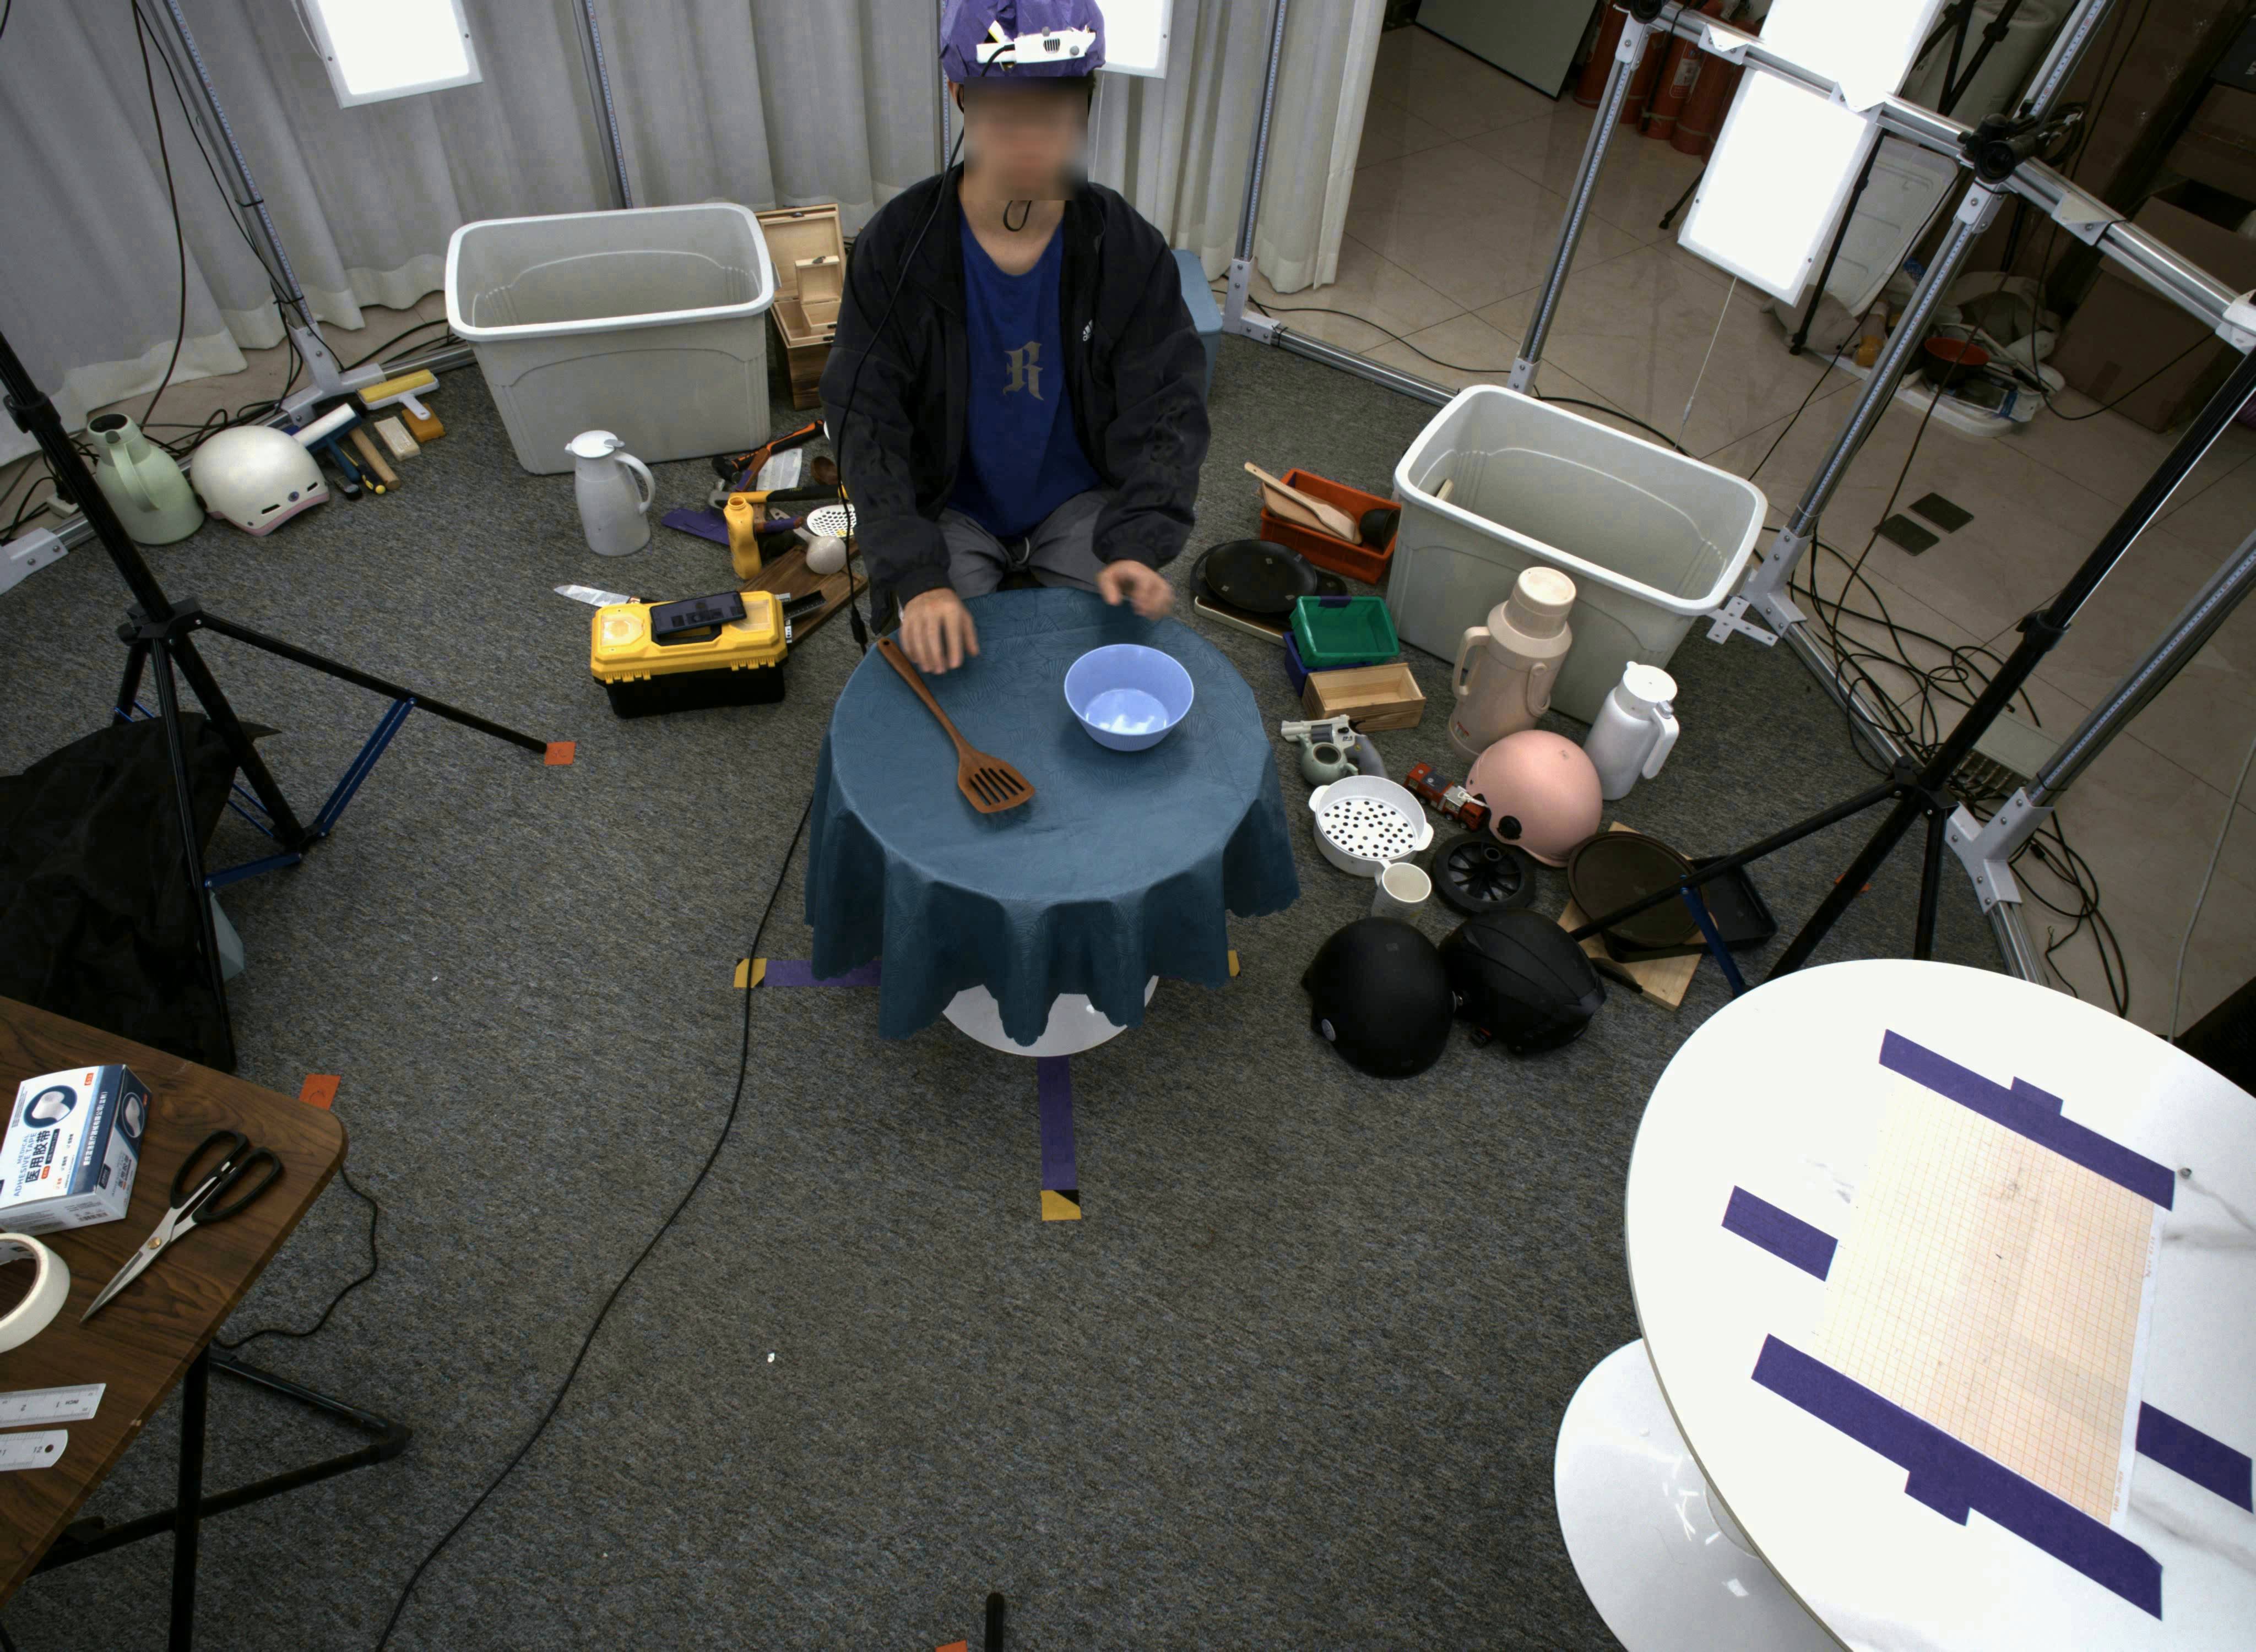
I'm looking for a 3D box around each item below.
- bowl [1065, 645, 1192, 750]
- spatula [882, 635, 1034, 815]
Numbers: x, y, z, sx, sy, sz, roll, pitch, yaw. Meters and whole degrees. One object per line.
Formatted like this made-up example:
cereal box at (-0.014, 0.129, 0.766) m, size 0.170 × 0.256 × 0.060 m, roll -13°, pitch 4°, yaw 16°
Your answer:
bowl at (-0.001, -0.168, 1.772) m, size 0.176 × 0.068 × 0.180 m, roll 2°, pitch 49°, yaw -2°
spatula at (-0.252, -0.146, 1.770) m, size 0.086 × 0.023 × 0.395 m, roll -23°, pitch 53°, yaw -21°
